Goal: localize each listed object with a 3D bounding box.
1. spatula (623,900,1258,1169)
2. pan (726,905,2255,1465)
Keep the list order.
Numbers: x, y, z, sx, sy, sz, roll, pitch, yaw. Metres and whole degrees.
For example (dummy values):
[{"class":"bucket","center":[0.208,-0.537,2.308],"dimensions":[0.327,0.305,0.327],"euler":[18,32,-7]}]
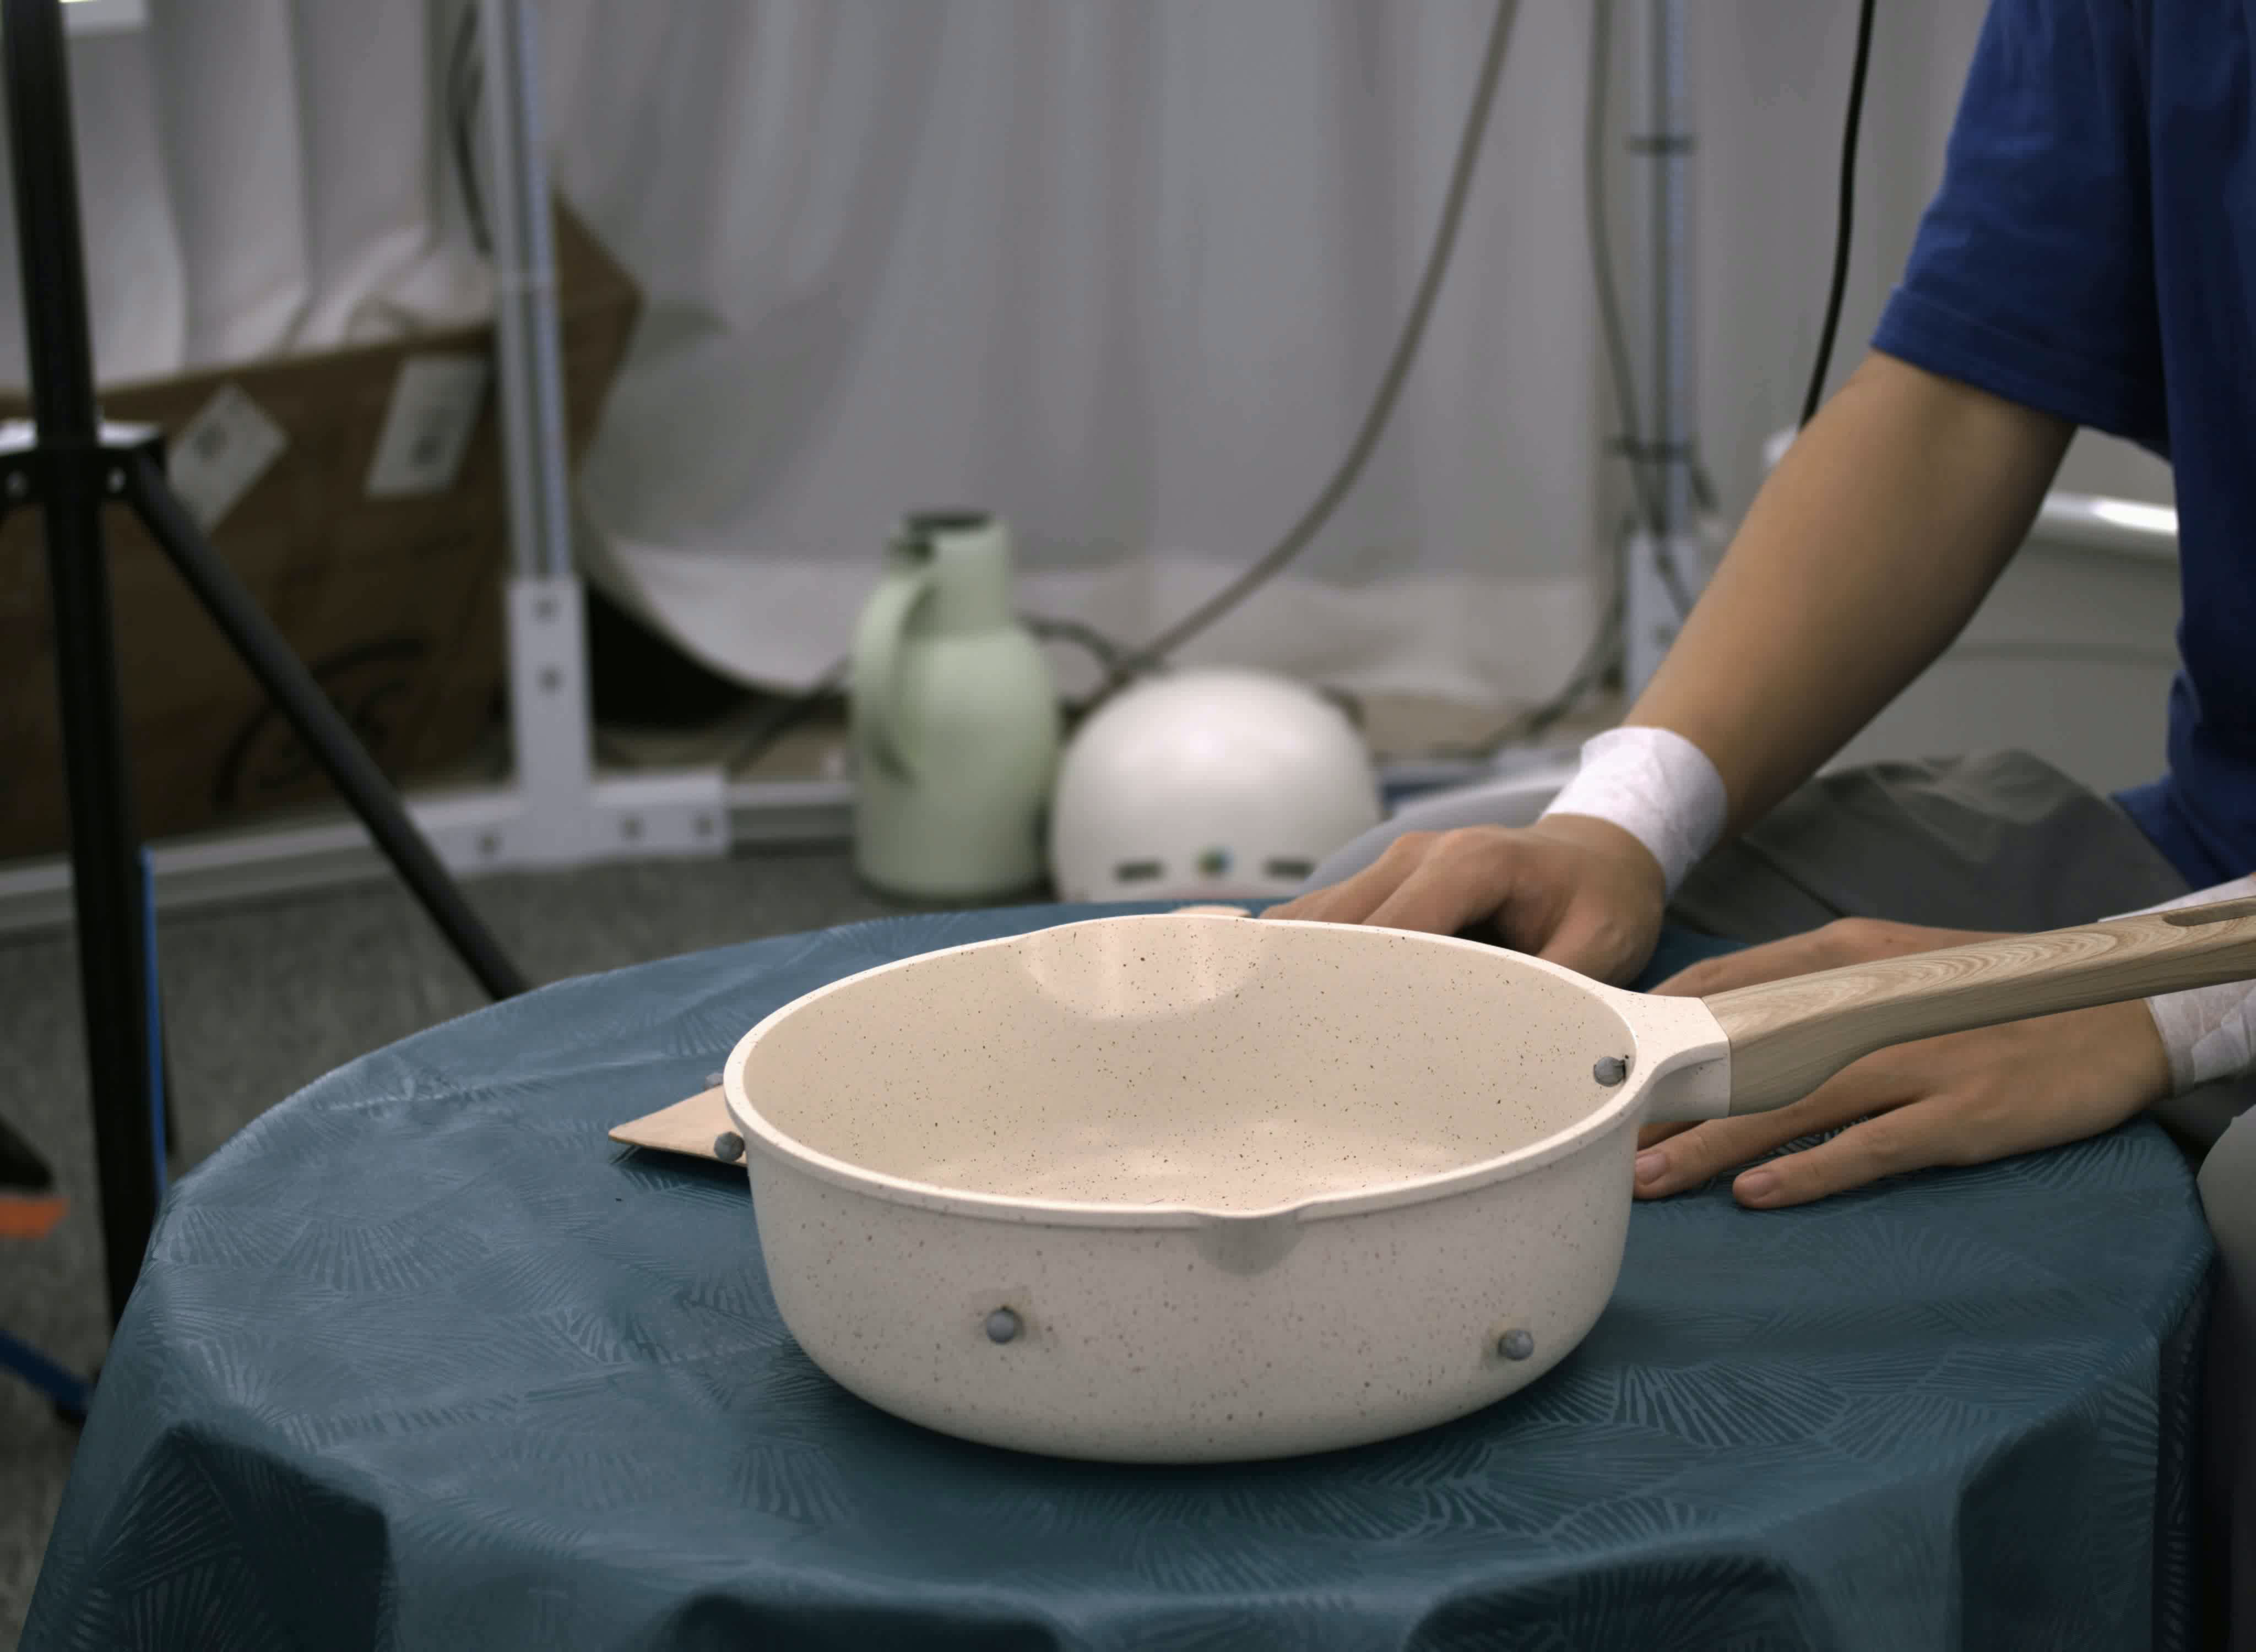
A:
[{"class":"spatula","center":[-0.046,0.064,1.702],"dimensions":[0.074,0.010,0.287],"euler":[7,19,35]},{"class":"pan","center":[0.109,0.087,1.432],"dimensions":[0.431,0.102,0.265],"euler":[-4,14,-5]}]
